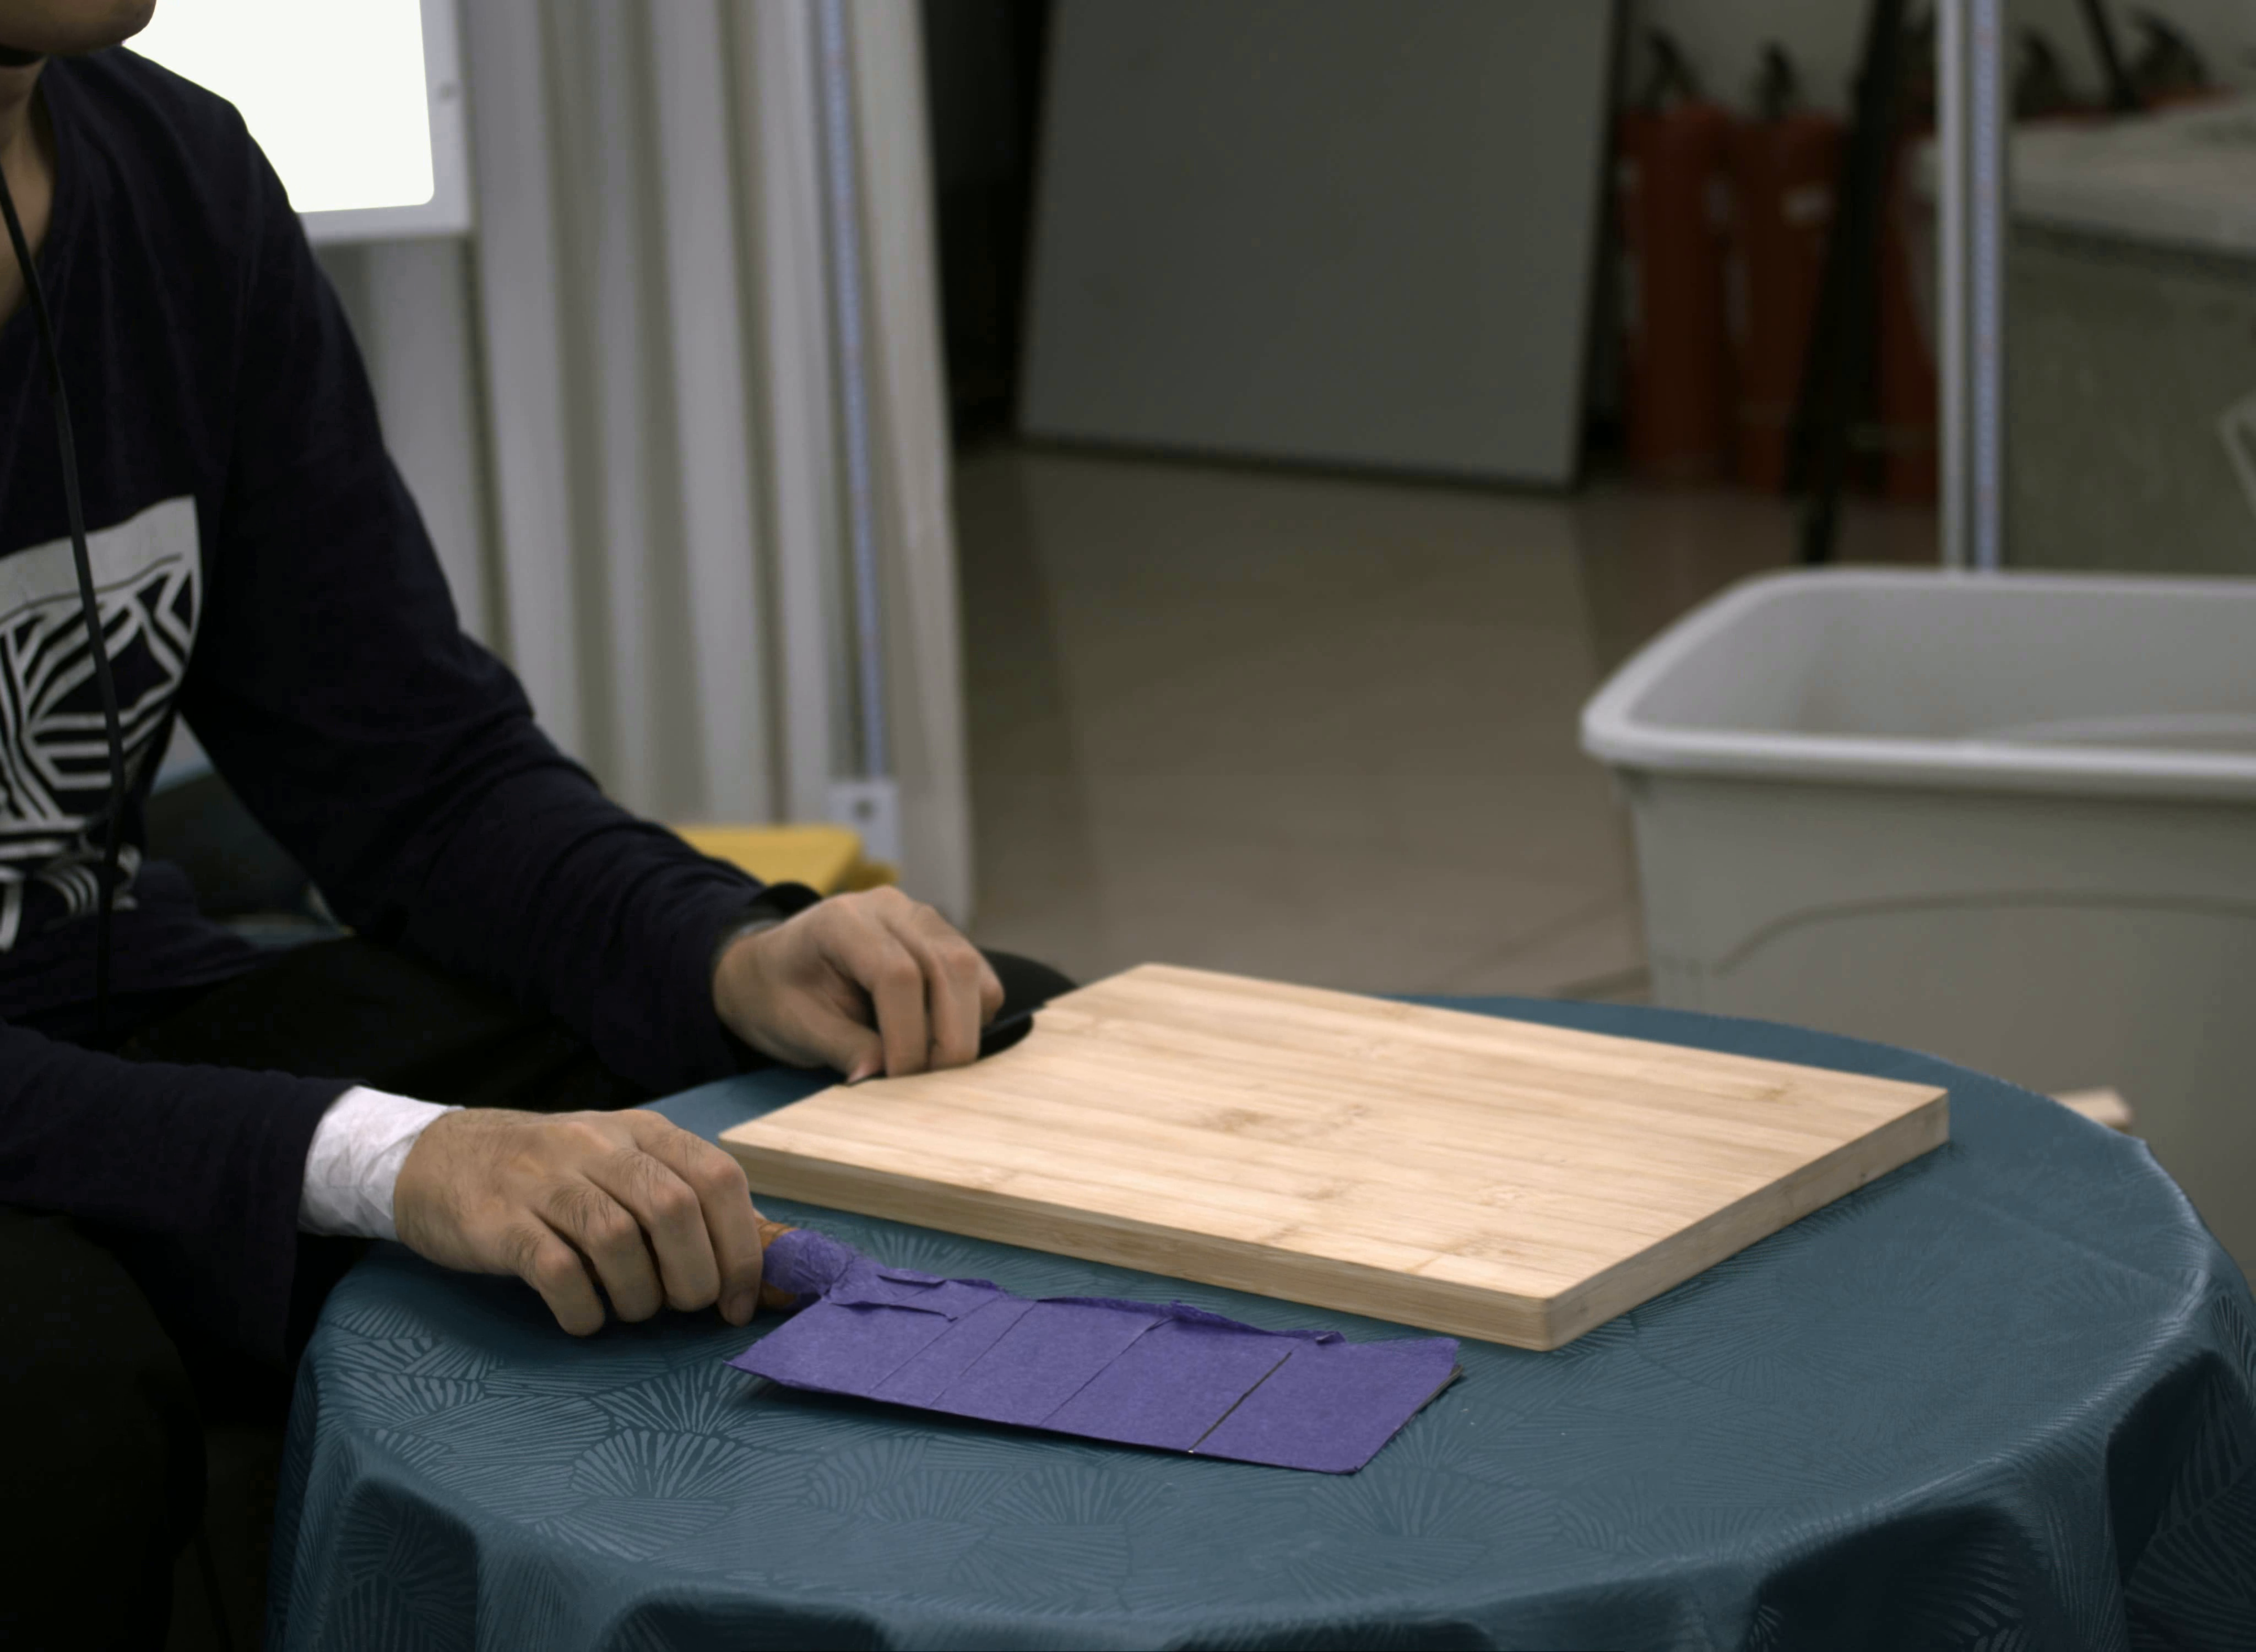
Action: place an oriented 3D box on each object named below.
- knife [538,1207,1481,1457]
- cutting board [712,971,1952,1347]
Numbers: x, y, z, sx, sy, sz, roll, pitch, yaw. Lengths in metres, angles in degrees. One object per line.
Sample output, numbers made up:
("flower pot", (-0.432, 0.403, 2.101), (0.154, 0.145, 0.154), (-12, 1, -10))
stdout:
("knife", (-0.054, 0.151, 1.613), (0.316, 0.032, 0.102), (3, 16, 27))
("cutting board", (0.065, 0.105, 1.788), (0.351, 0.024, 0.246), (7, 17, 38))
